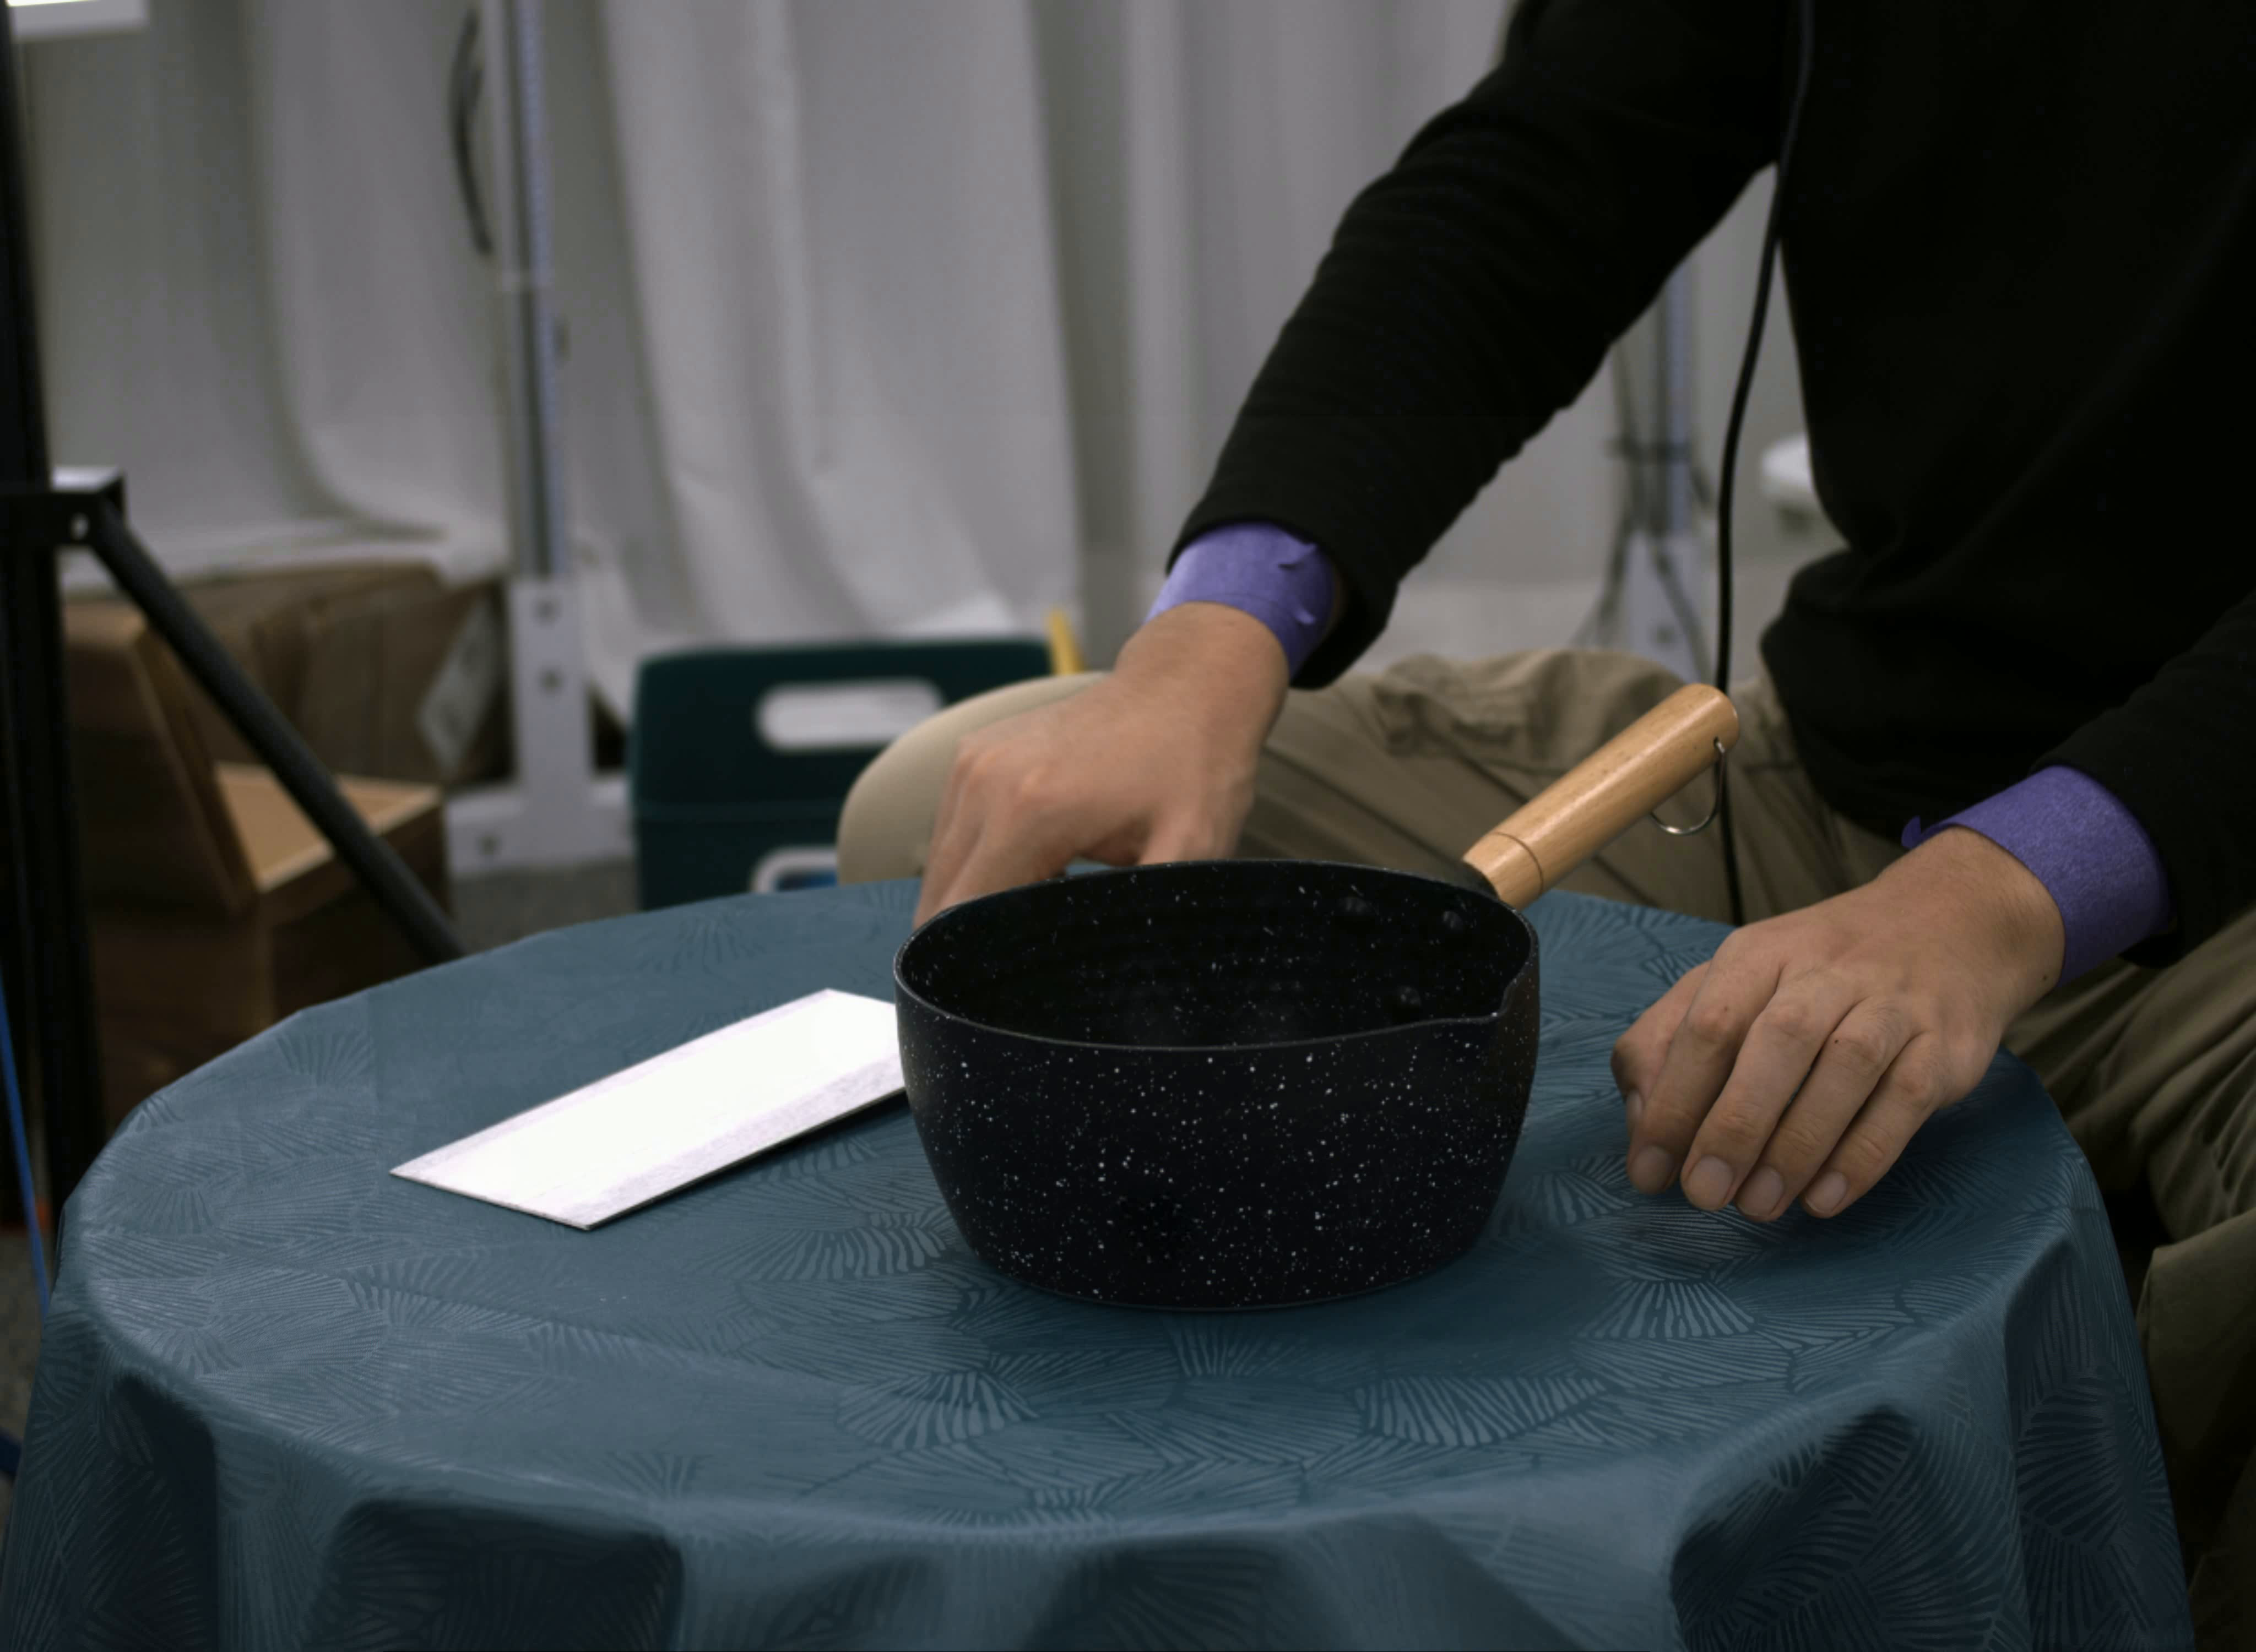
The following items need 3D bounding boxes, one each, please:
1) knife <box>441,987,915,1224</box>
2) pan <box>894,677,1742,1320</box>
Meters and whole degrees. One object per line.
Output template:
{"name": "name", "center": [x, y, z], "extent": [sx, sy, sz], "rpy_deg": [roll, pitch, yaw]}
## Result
{"name": "knife", "center": [-0.089, 0.070, 1.675], "extent": [0.095, 0.021, 0.299], "rpy_deg": [10, 23, 42]}
{"name": "pan", "center": [0.076, 0.046, 1.568], "extent": [0.212, 0.108, 0.335], "rpy_deg": [10, 21, 39]}
